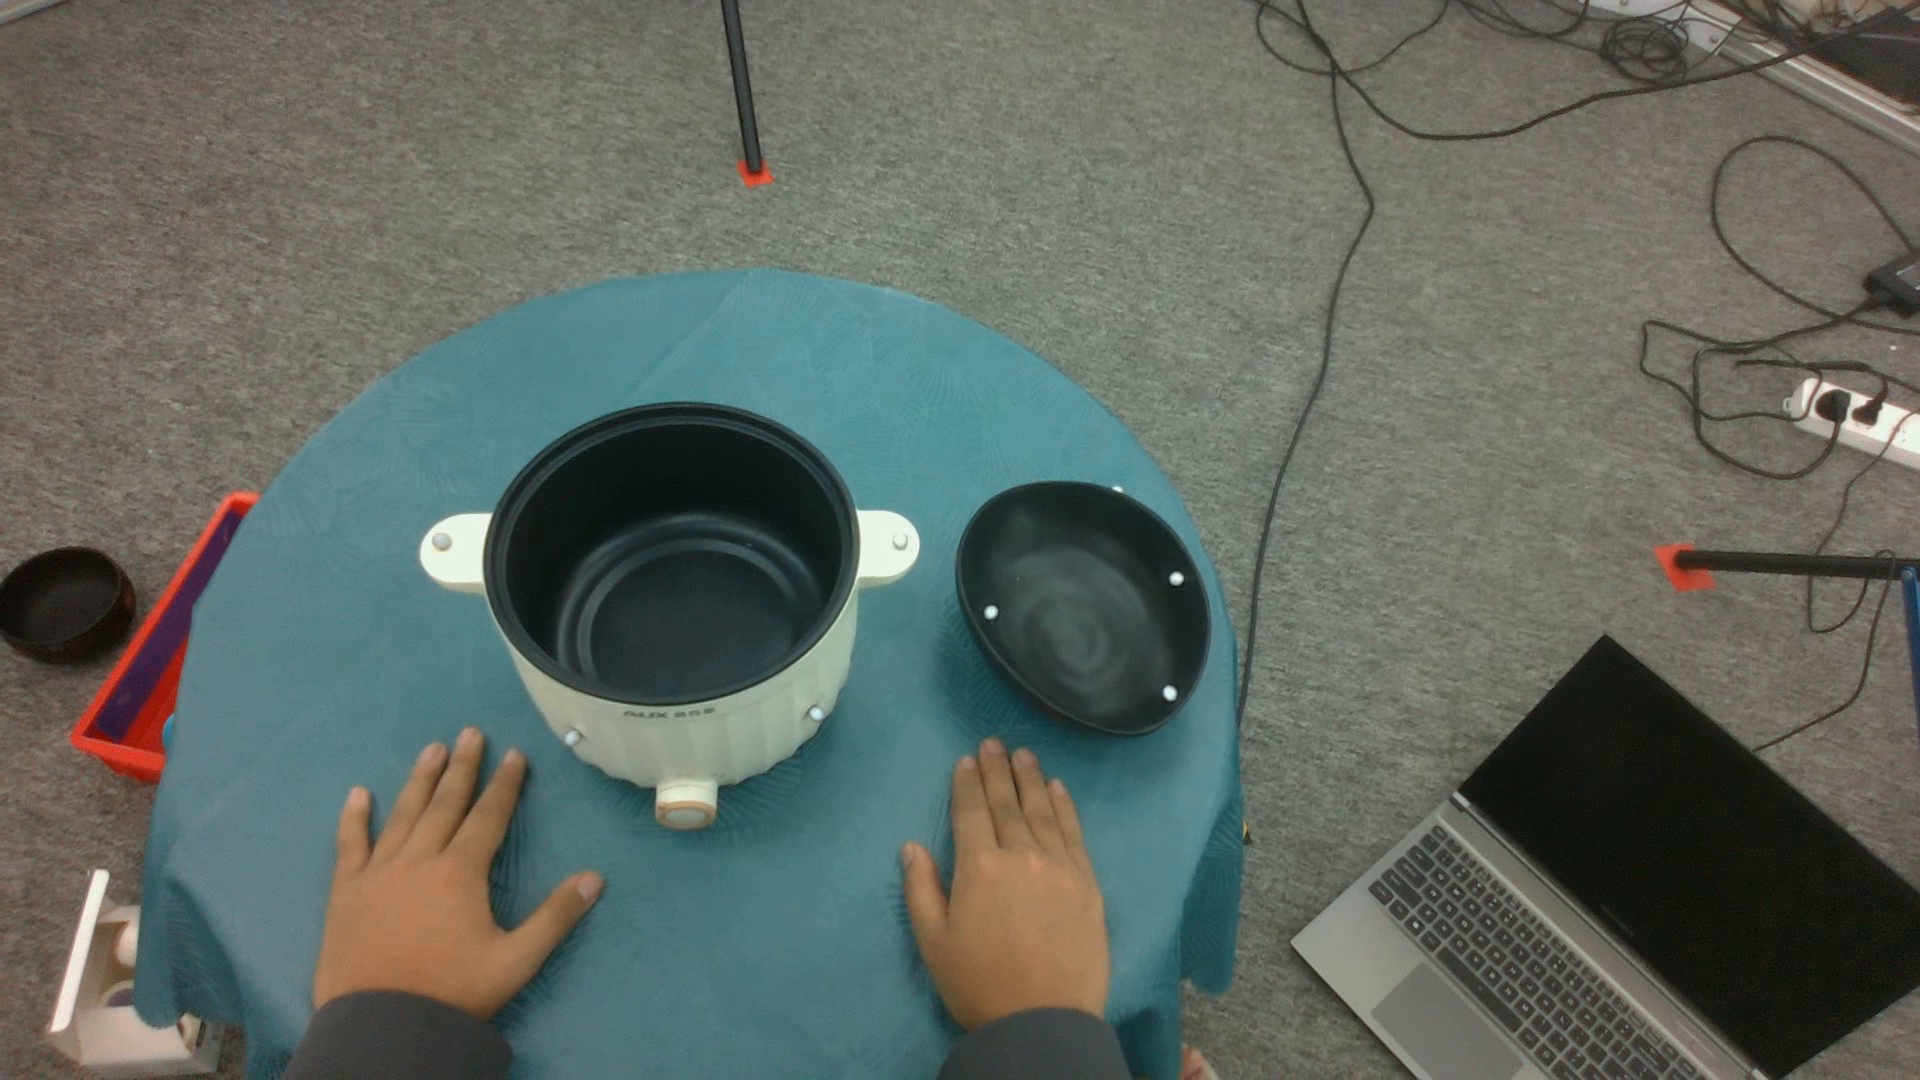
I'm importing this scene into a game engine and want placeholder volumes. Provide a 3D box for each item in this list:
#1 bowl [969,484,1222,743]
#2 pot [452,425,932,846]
[{"bbox_3d":[0.077,0.048,0.802,0.137,0.066,0.170,-23,60,-17],"label":"bowl"},{"bbox_3d":[-0.133,0.054,0.744,0.240,0.142,0.191,-5,52,-4],"label":"pot"}]
